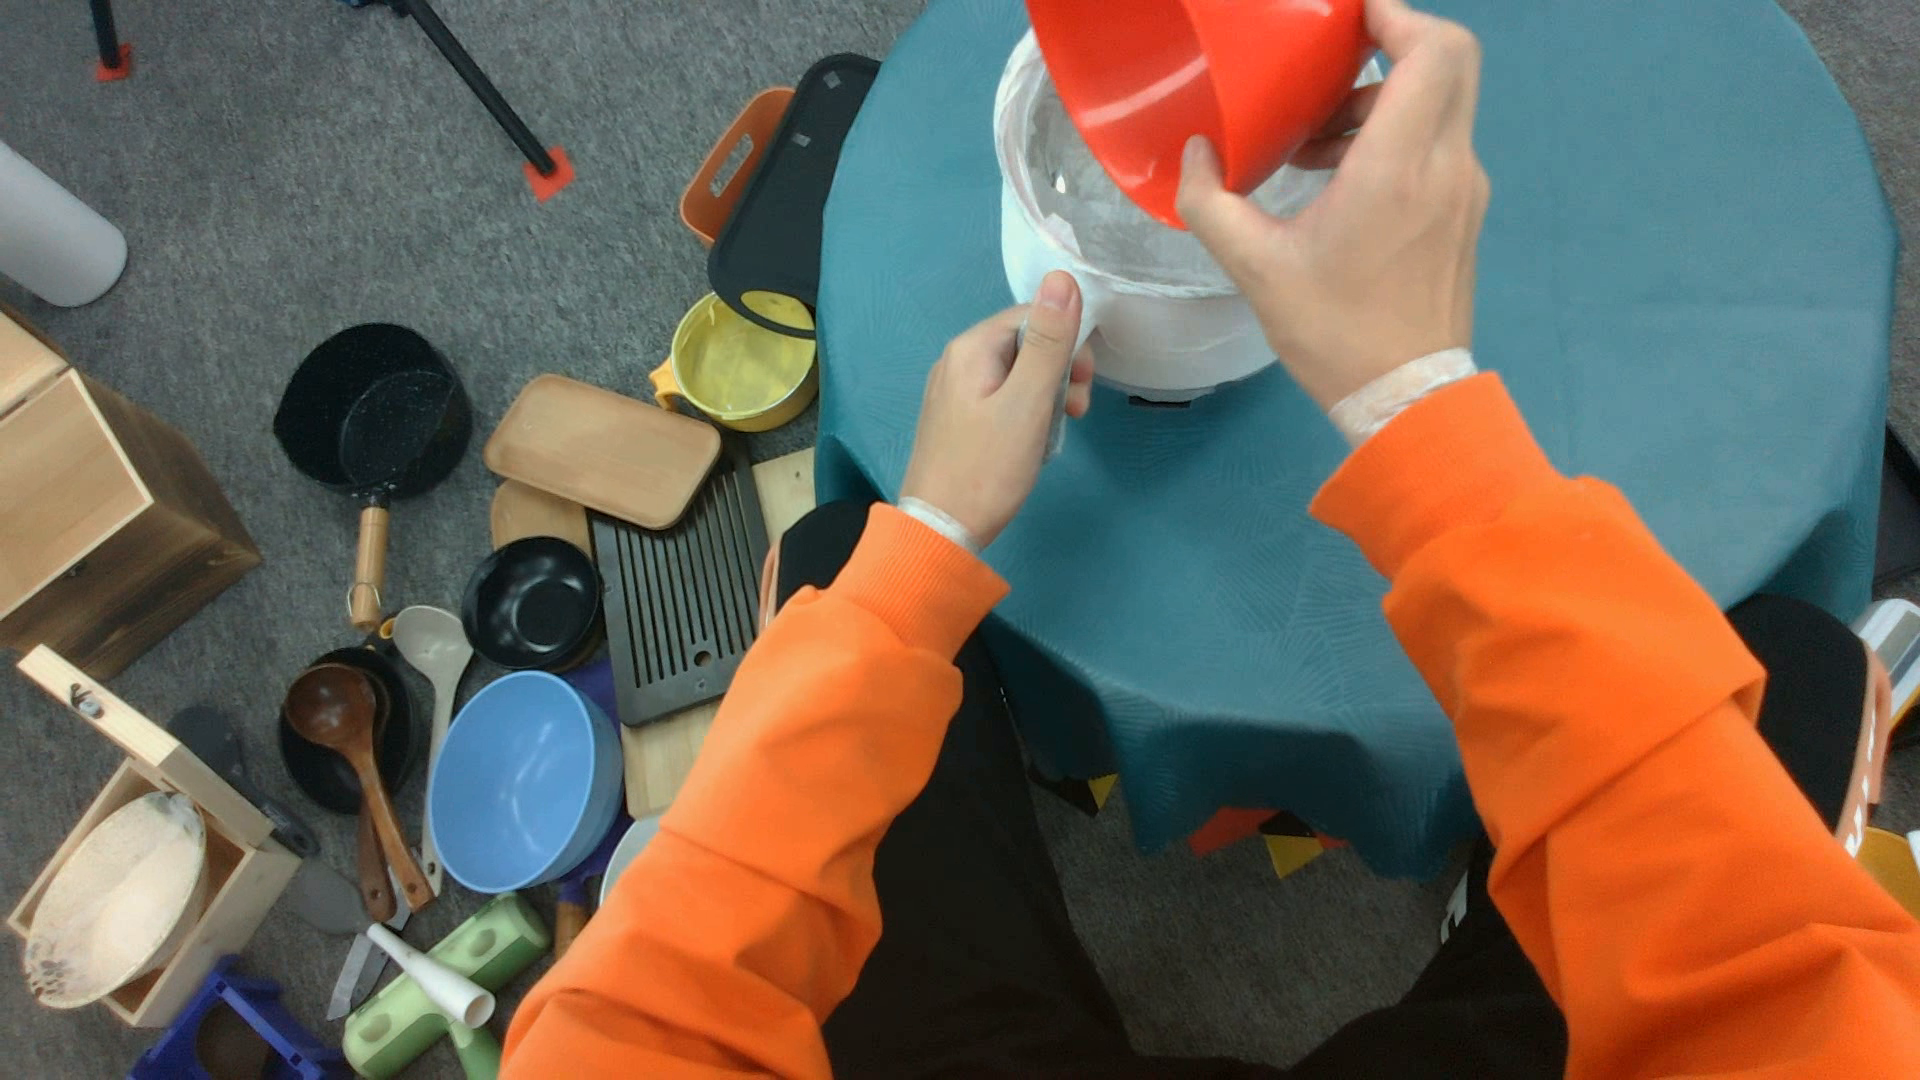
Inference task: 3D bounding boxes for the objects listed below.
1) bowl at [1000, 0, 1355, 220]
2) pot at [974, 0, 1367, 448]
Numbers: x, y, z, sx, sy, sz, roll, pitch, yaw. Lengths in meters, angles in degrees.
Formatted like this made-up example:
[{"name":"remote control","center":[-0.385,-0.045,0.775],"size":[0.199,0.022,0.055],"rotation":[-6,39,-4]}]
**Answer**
[{"name":"bowl","center":[0.089,-0.212,0.554],"size":[0.104,0.147,0.148],"rotation":[-27,69,-3]},{"name":"pot","center":[0.083,-0.155,0.674],"size":[0.179,0.136,0.234],"rotation":[31,77,13]}]
